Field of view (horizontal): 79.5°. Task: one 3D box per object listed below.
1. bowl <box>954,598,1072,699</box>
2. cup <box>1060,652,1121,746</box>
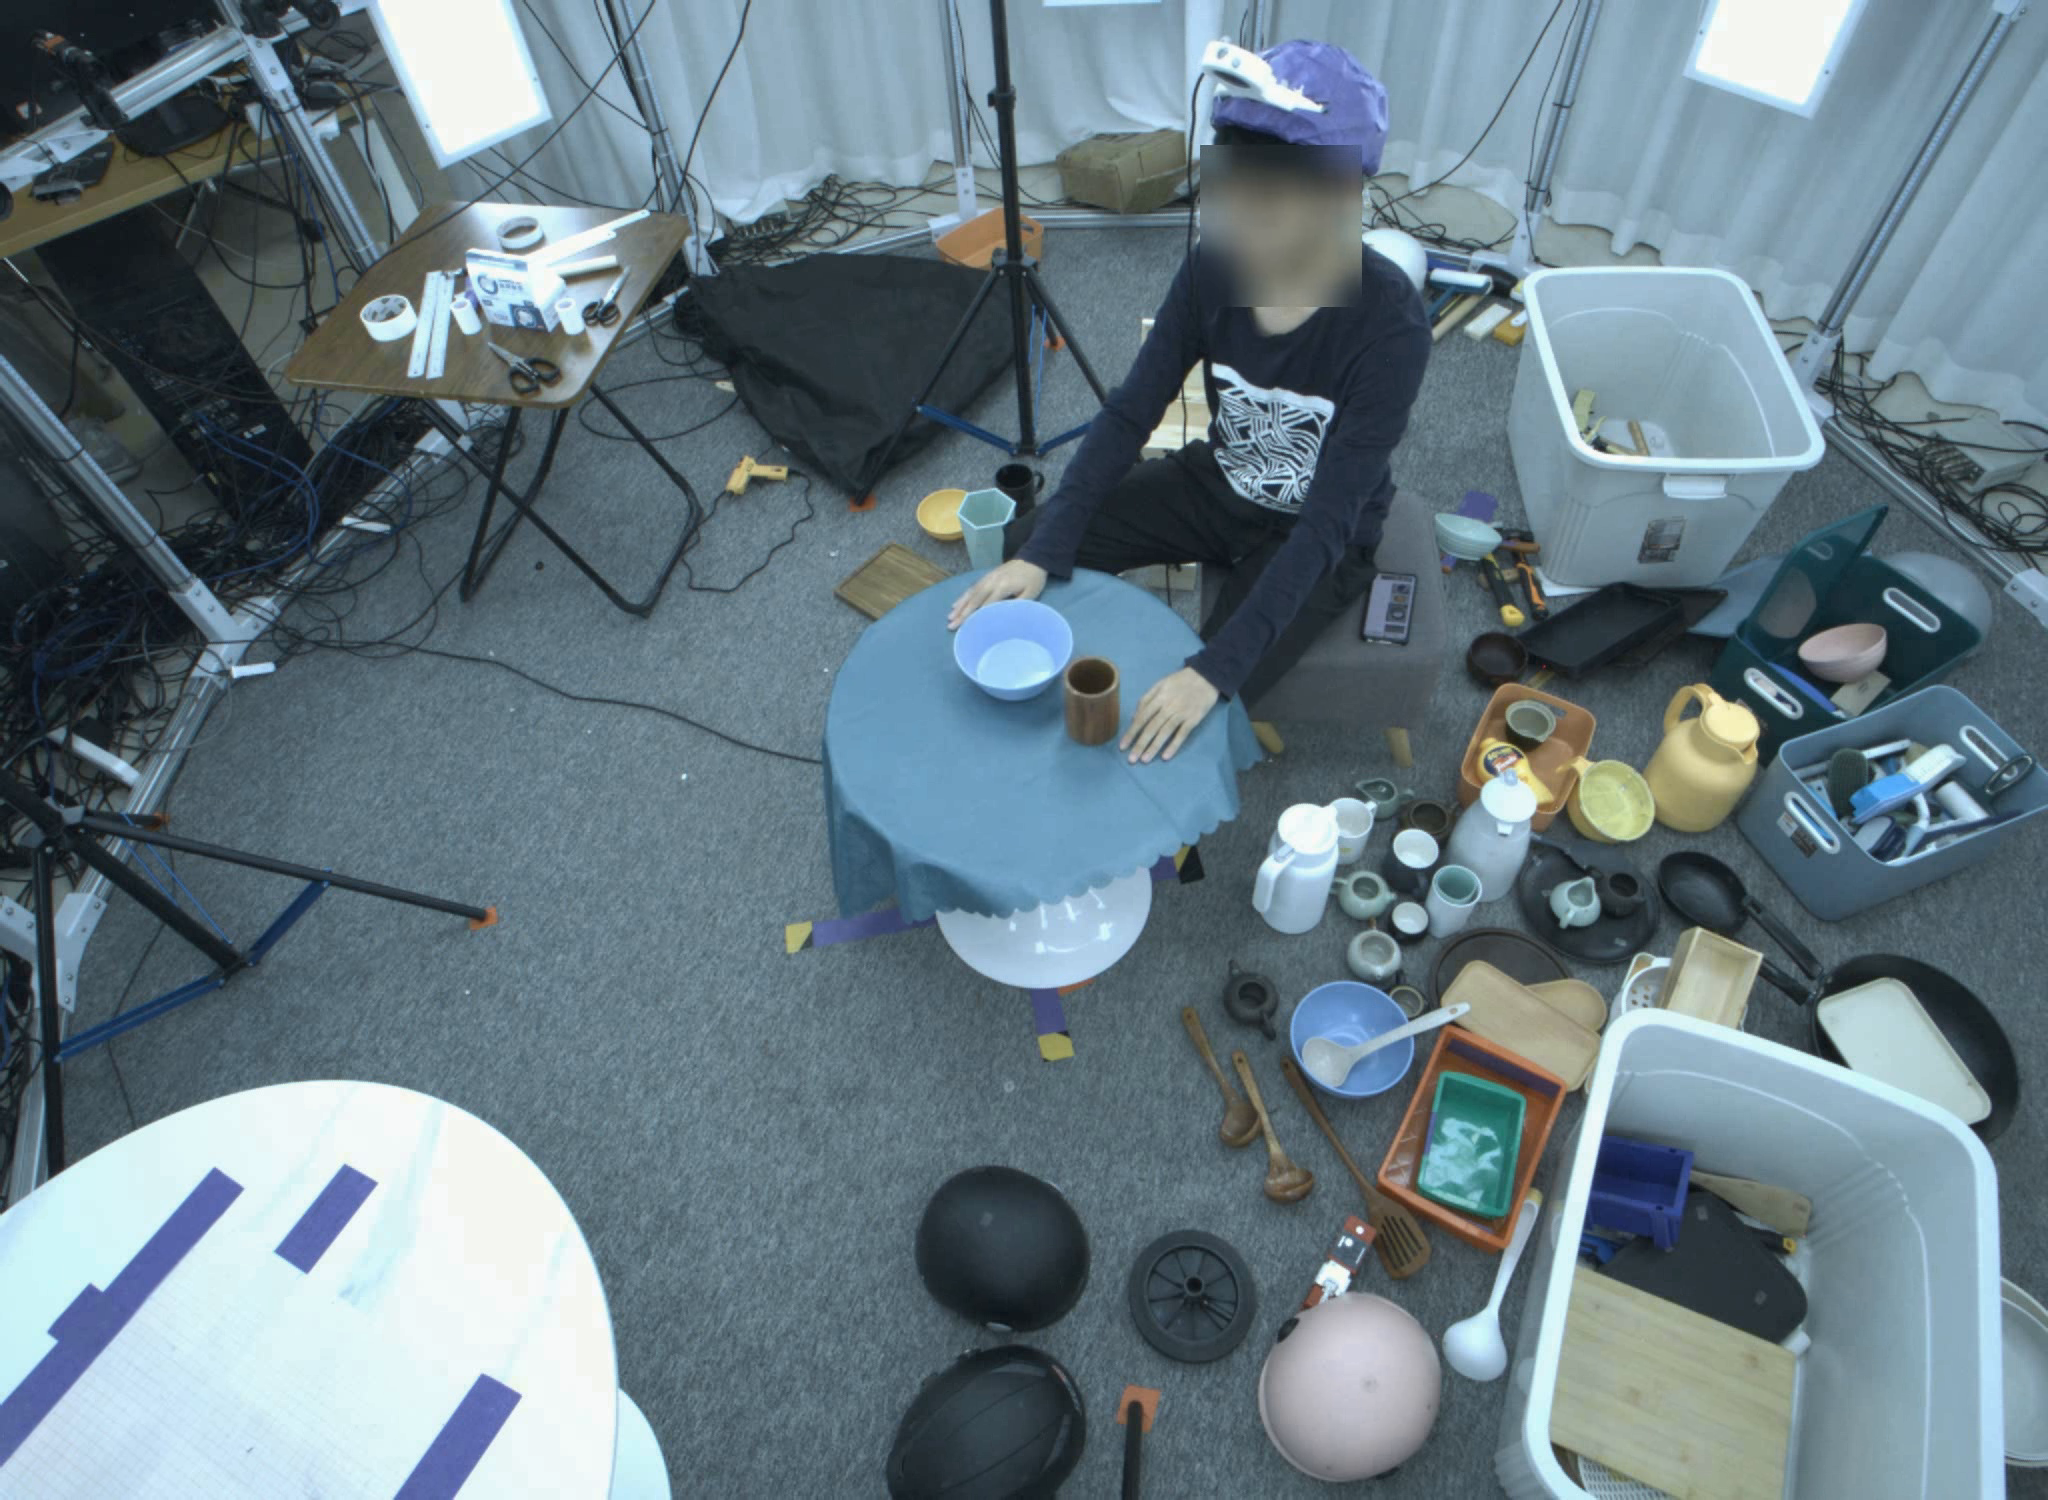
[{"bbox_3d":[-0.015,-0.141,1.838,0.176,0.071,0.174,0,54,1],"label":"bowl"},{"bbox_3d":[0.094,-0.072,1.756,0.088,0.119,0.087,0,53,1],"label":"cup"}]
